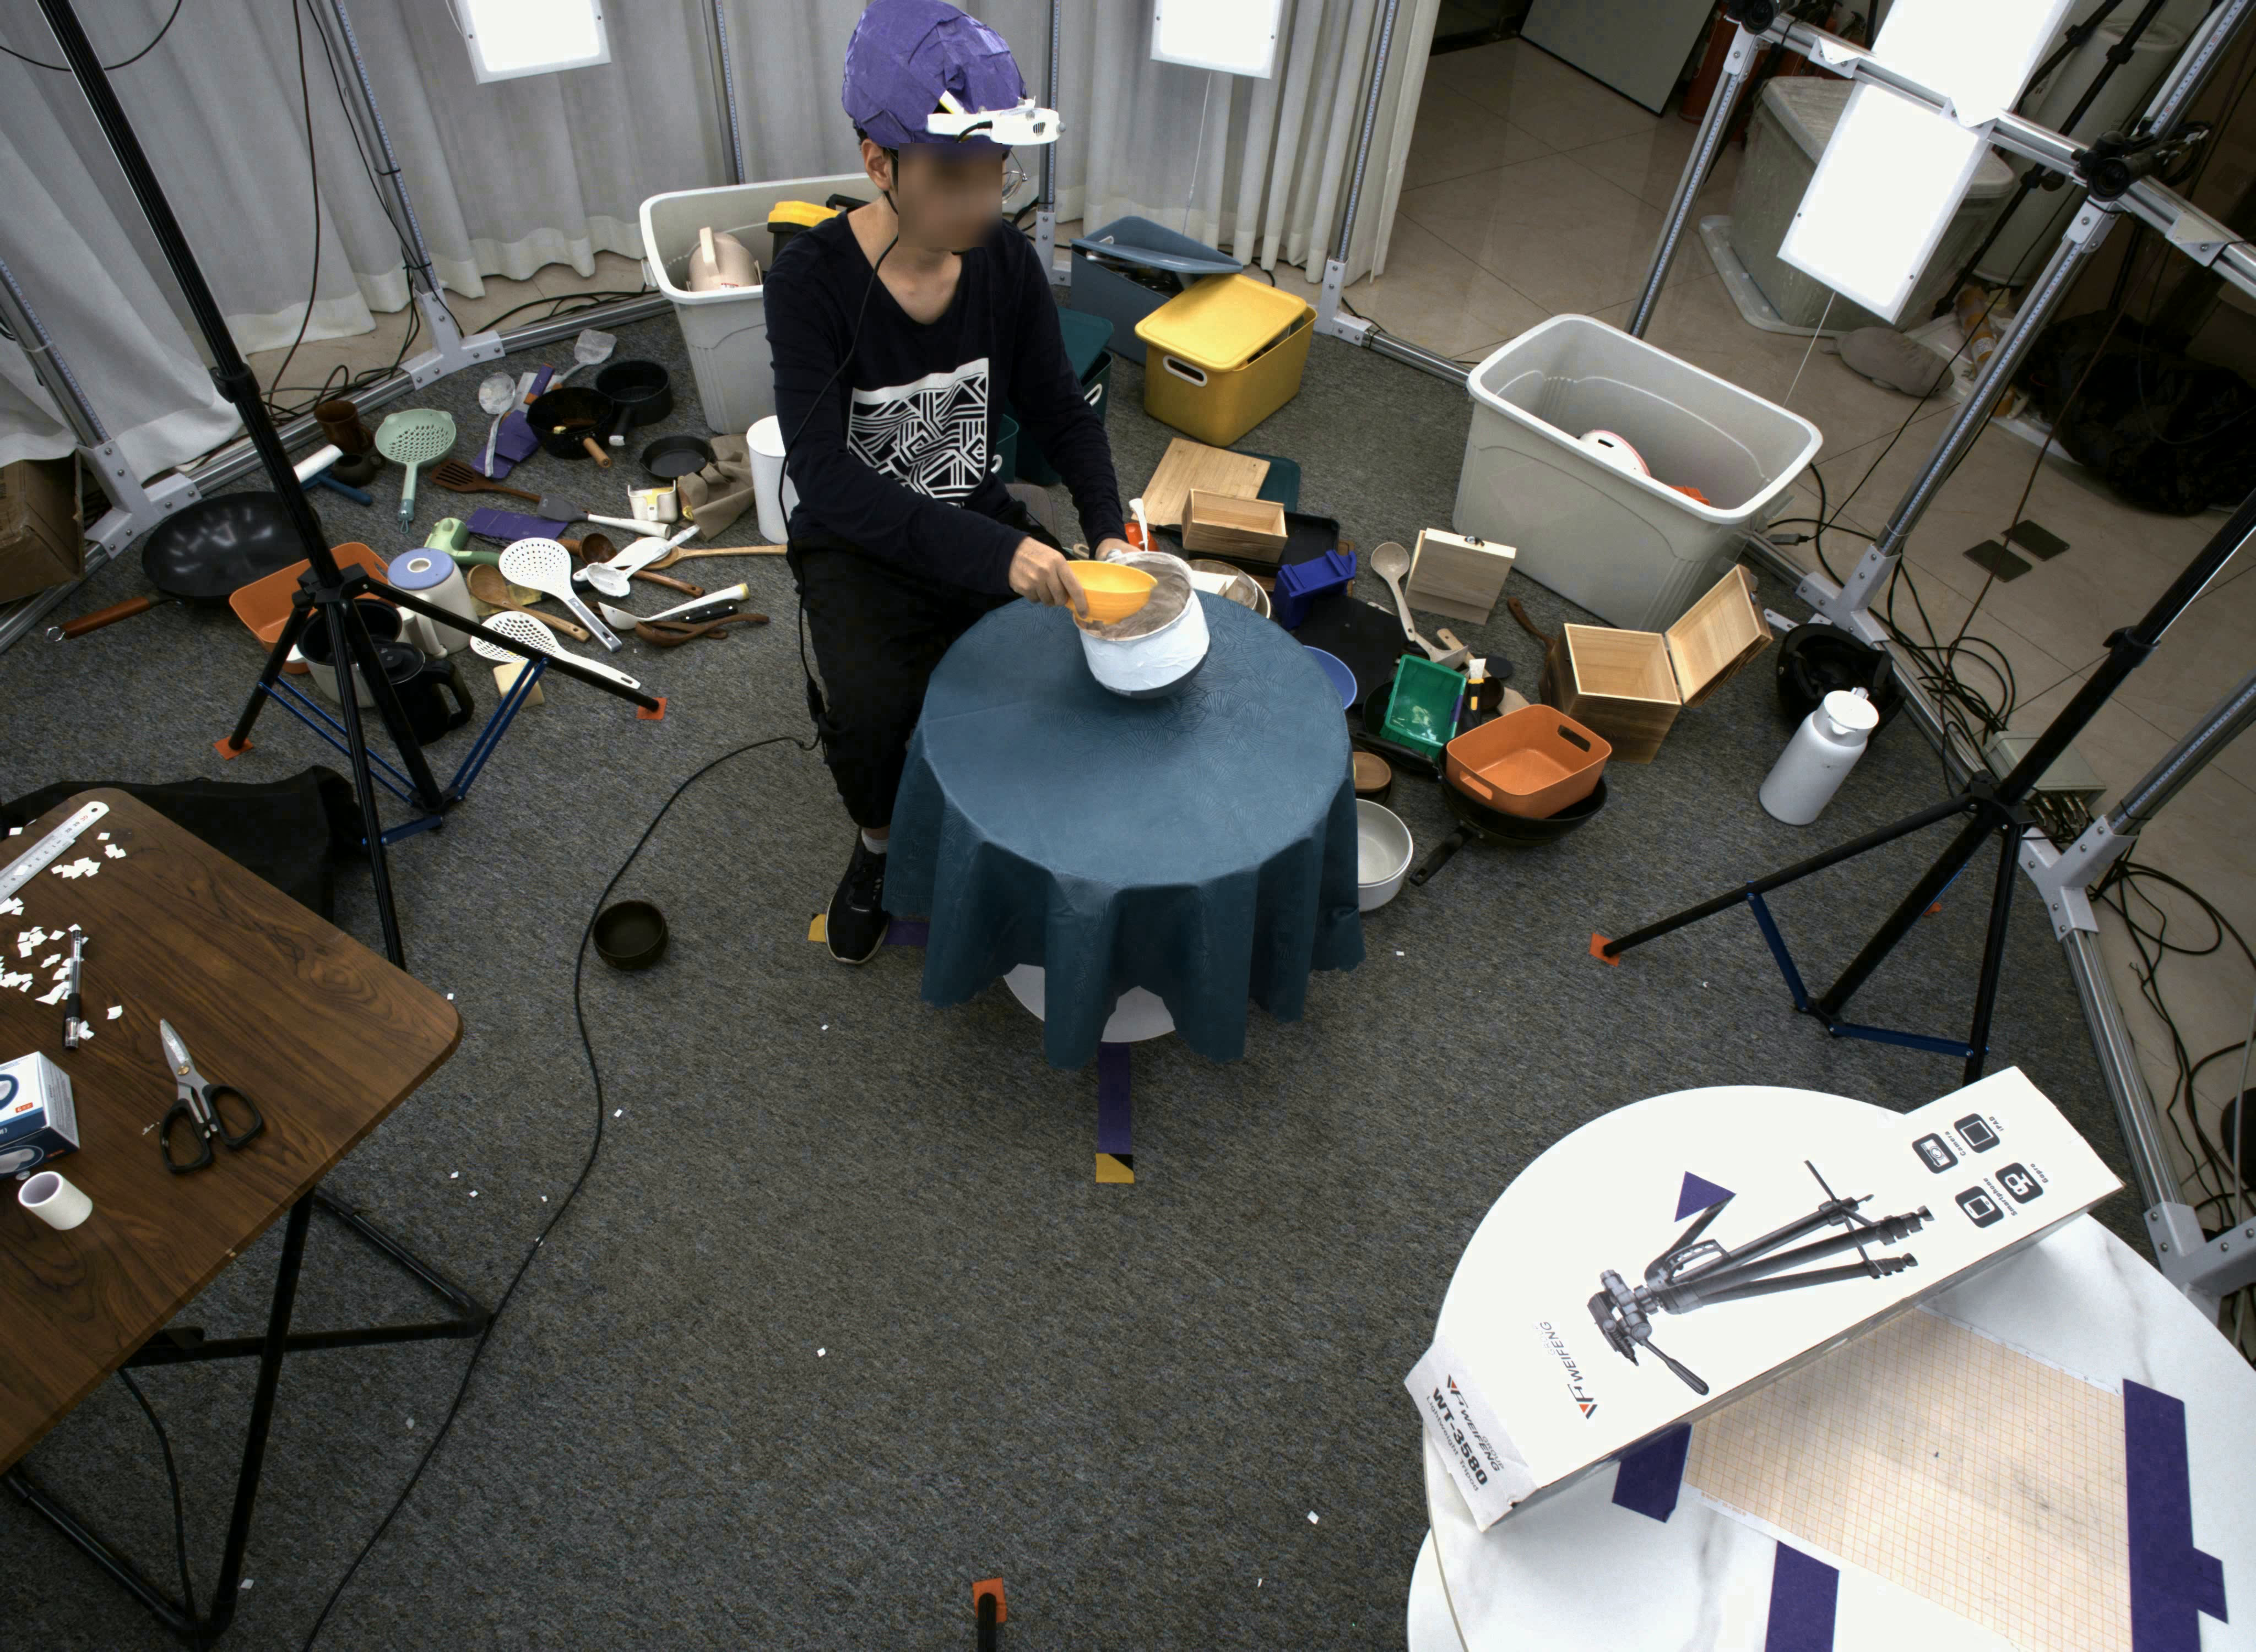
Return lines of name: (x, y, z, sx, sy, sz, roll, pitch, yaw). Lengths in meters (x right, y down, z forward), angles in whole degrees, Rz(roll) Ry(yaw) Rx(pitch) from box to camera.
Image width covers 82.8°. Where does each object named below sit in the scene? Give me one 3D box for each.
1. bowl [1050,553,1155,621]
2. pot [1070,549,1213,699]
bowl: (-0.039, -0.315, 1.729, 0.145, 0.059, 0.148, 9, 27, -5)
pot: (0.014, -0.294, 1.808, 0.178, 0.133, 0.239, -21, 46, 0)
